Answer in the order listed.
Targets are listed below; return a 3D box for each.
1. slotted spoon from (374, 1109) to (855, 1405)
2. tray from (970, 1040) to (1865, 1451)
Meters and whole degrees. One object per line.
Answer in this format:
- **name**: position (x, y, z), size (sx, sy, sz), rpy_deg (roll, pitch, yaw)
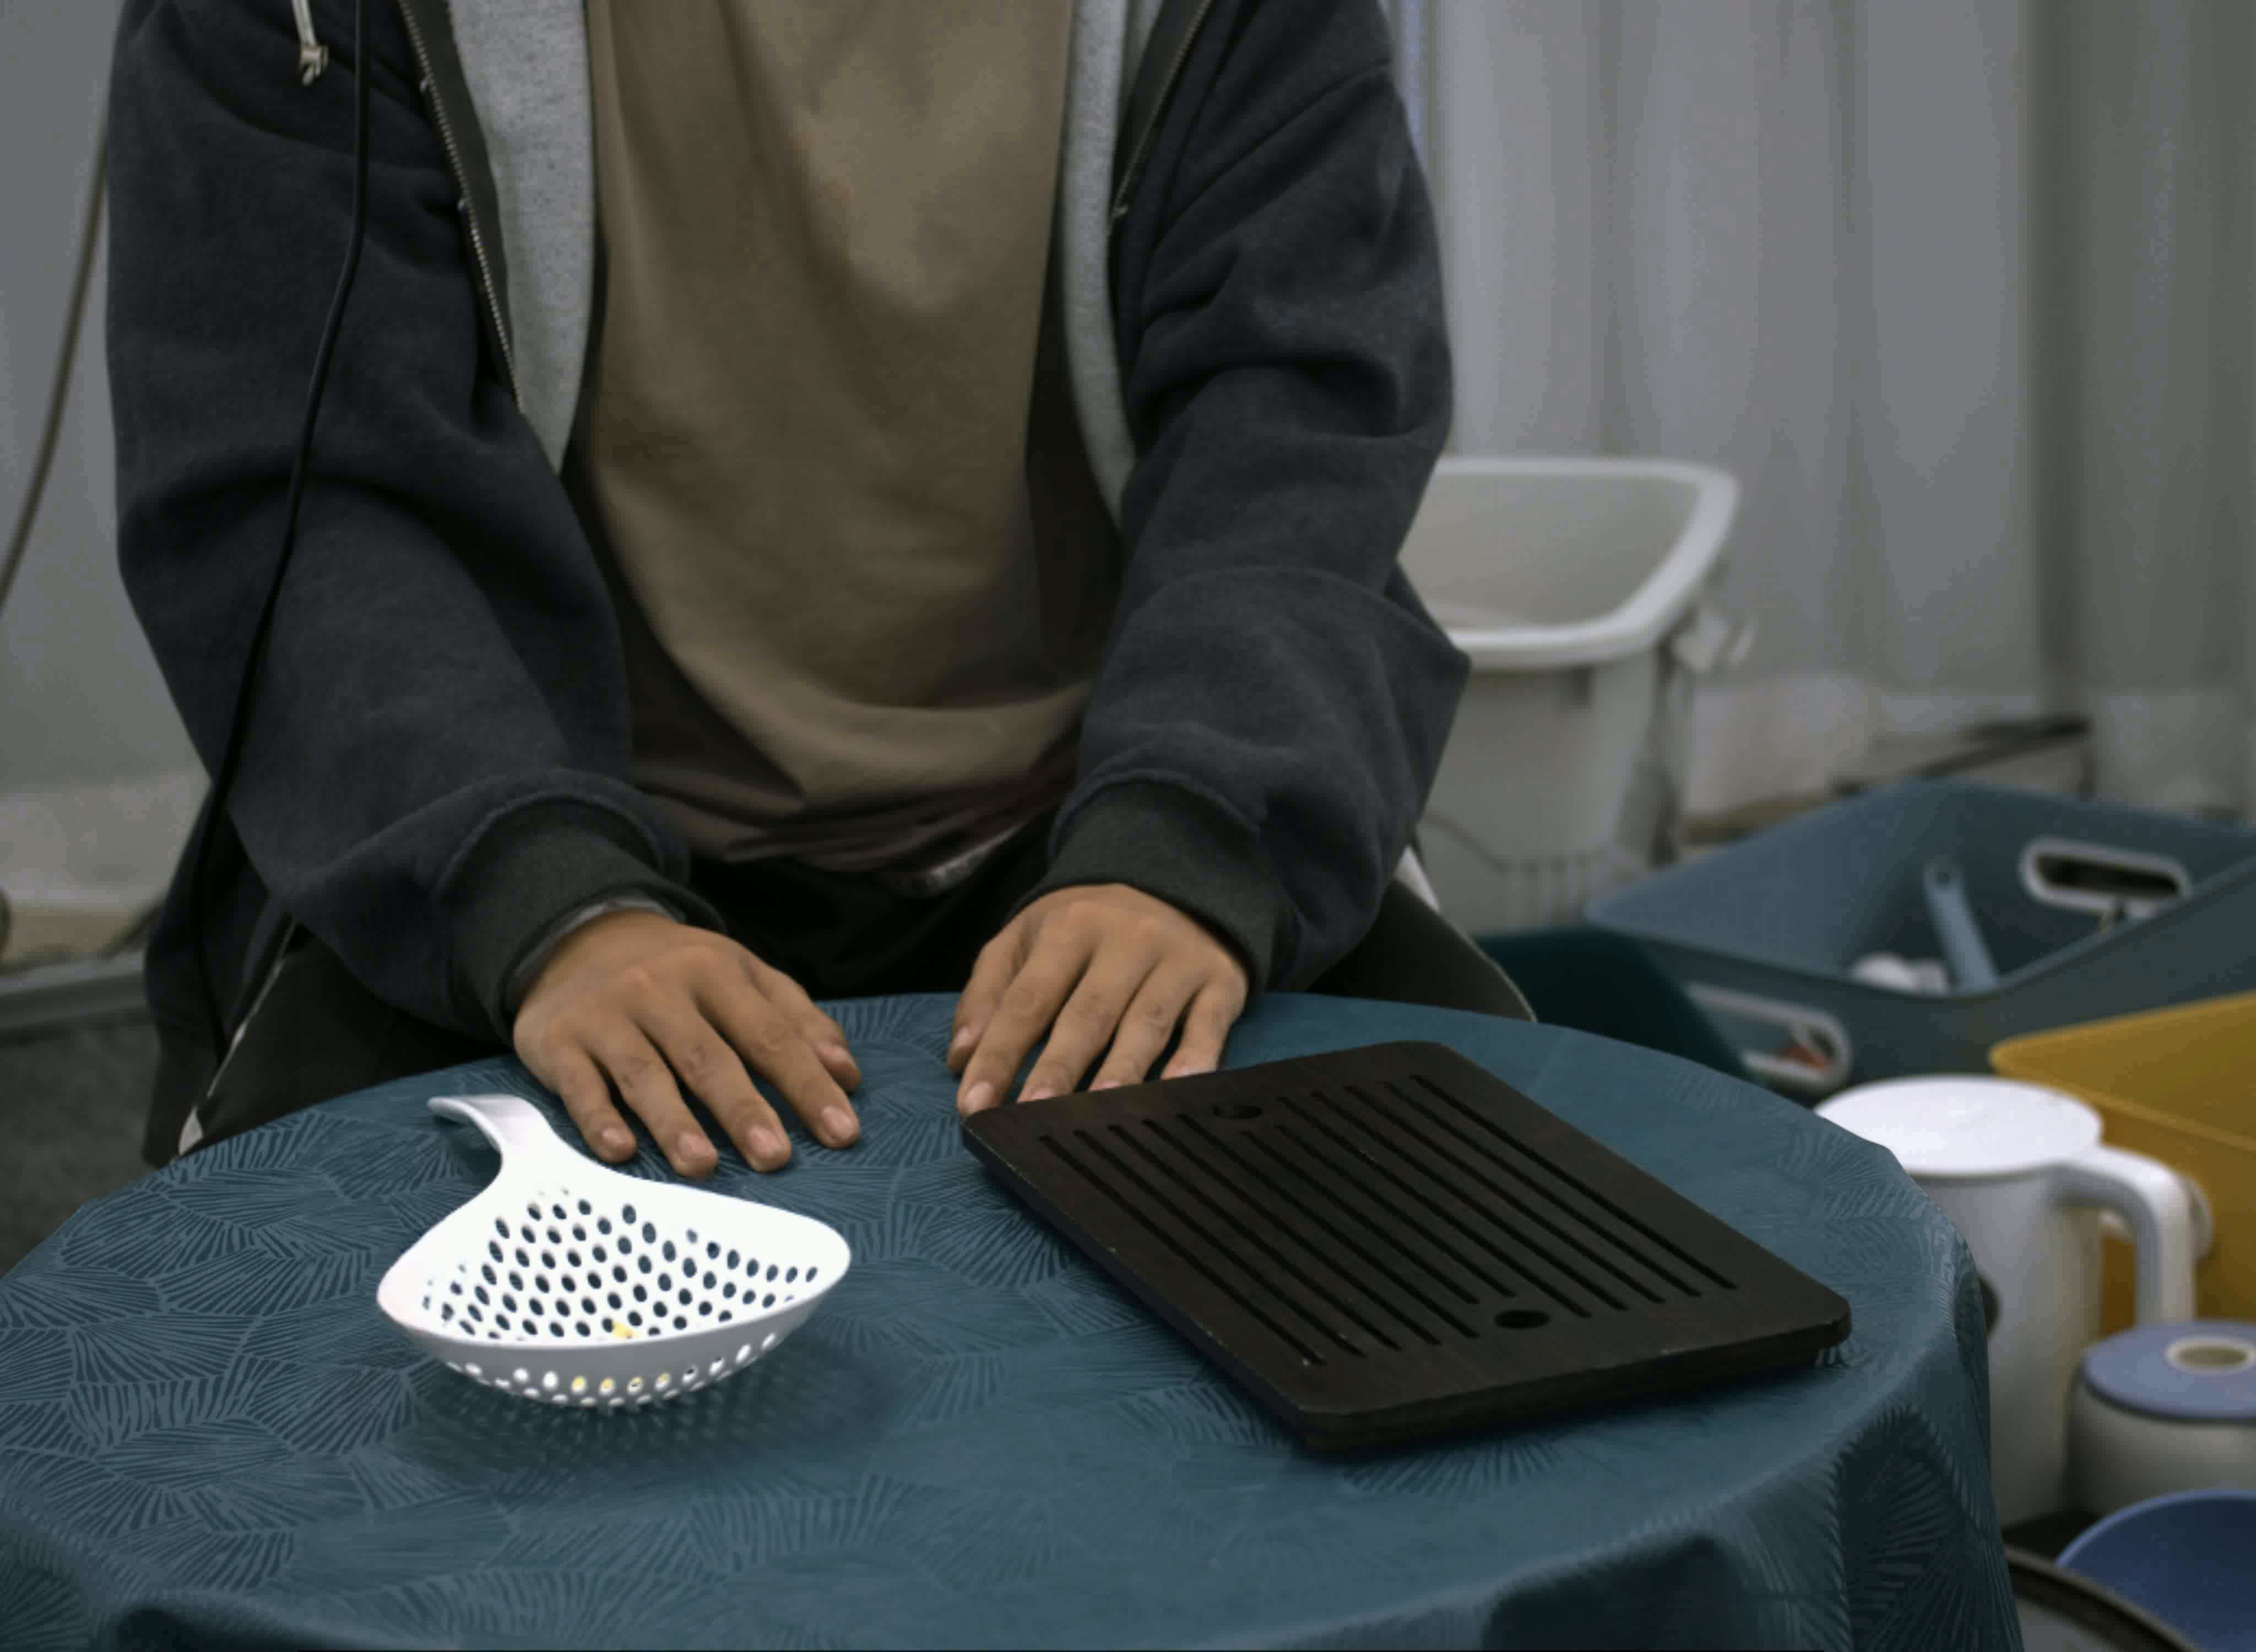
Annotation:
- **slotted spoon**: position (-0.177, 0.117, 1.664), size (0.136, 0.050, 0.351), rpy_deg (-9, 16, -15)
- **tray**: position (0.079, 0.122, 1.640), size (0.169, 0.018, 0.308), rpy_deg (-8, 16, -19)
